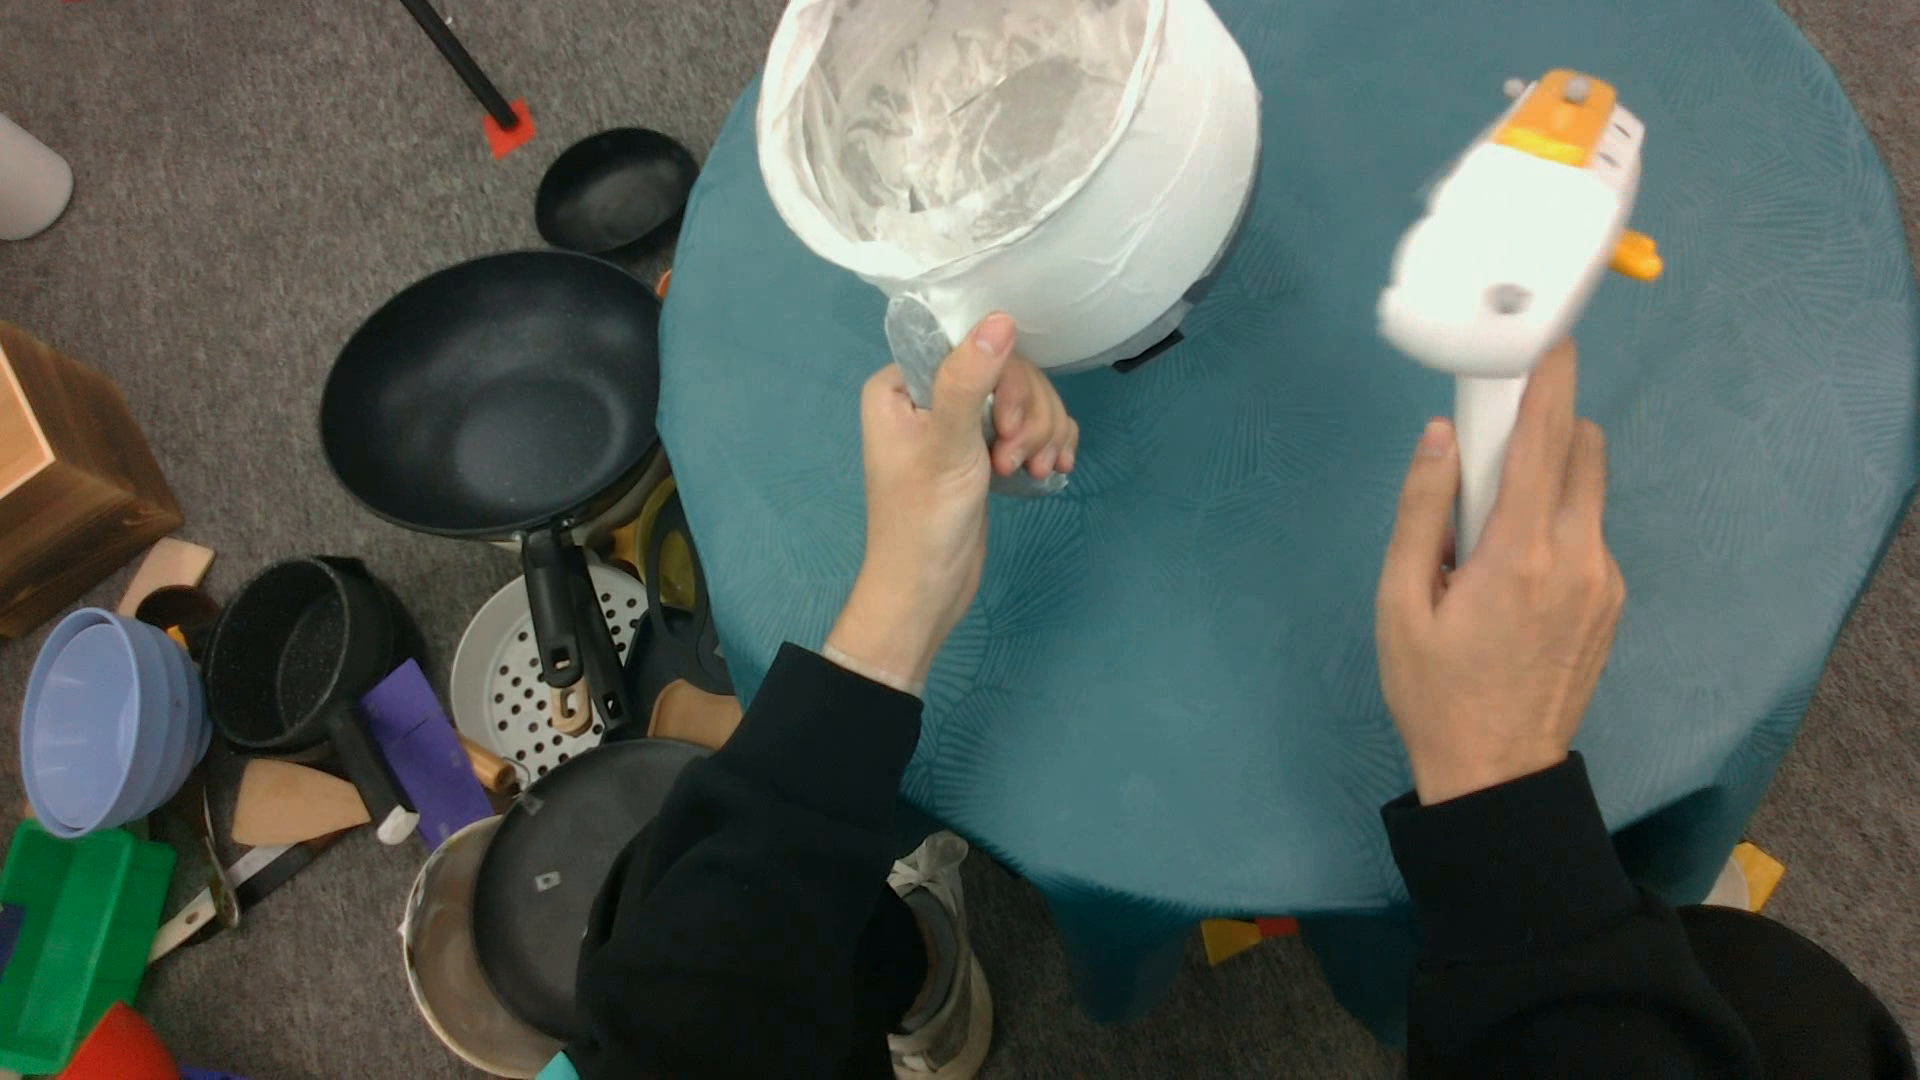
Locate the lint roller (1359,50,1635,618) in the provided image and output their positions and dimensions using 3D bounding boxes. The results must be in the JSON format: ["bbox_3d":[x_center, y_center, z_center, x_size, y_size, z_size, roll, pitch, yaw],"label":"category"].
[{"bbox_3d":[0.184,-0.060,0.486,0.074,0.191,0.194,15,34,18],"label":"lint roller"}]

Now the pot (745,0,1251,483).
[{"bbox_3d":[0.018,-0.146,0.563,0.178,0.136,0.234,1,77,32],"label":"pot"}]
